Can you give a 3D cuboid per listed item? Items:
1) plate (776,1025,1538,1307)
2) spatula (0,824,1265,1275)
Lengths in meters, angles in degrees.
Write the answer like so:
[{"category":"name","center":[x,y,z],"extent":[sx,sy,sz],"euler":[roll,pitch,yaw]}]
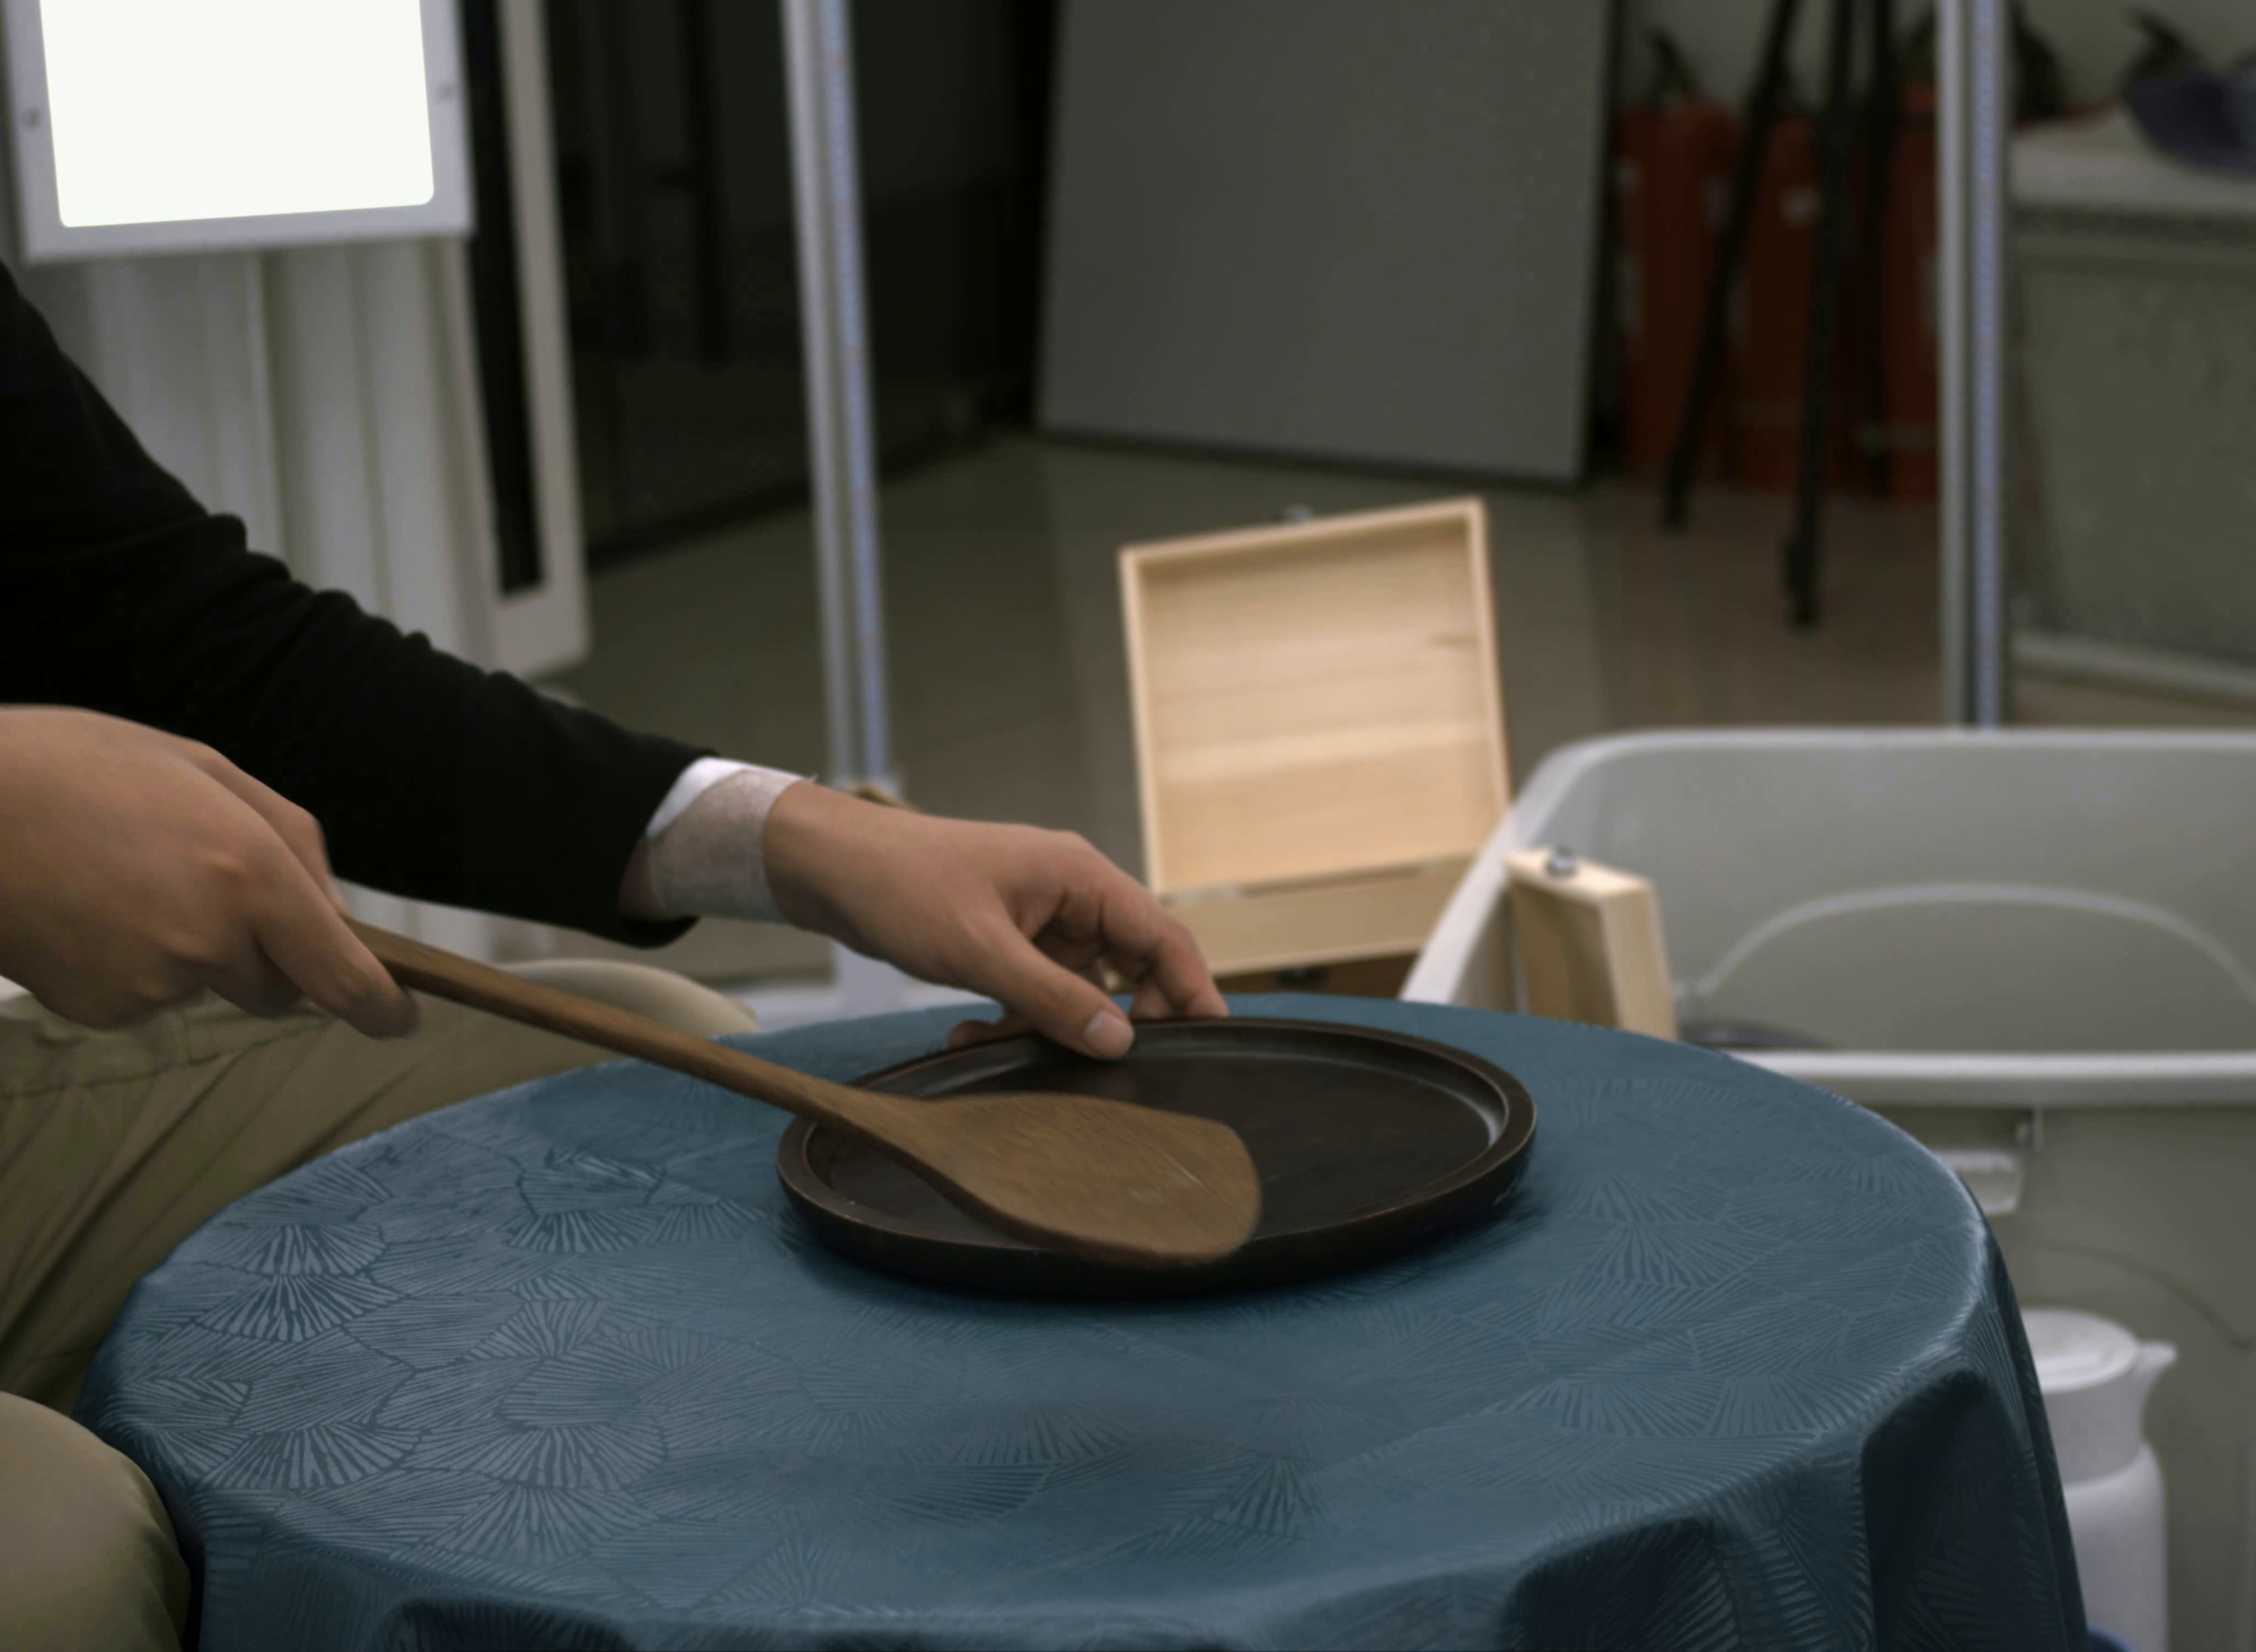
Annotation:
[{"category":"plate","center":[0.010,0.108,1.768],"extent":[0.251,0.029,0.255],"euler":[-5,15,0]},{"category":"spatula","center":[-0.144,0.059,1.533],"extent":[0.382,0.016,0.096],"euler":[17,22,2]}]
